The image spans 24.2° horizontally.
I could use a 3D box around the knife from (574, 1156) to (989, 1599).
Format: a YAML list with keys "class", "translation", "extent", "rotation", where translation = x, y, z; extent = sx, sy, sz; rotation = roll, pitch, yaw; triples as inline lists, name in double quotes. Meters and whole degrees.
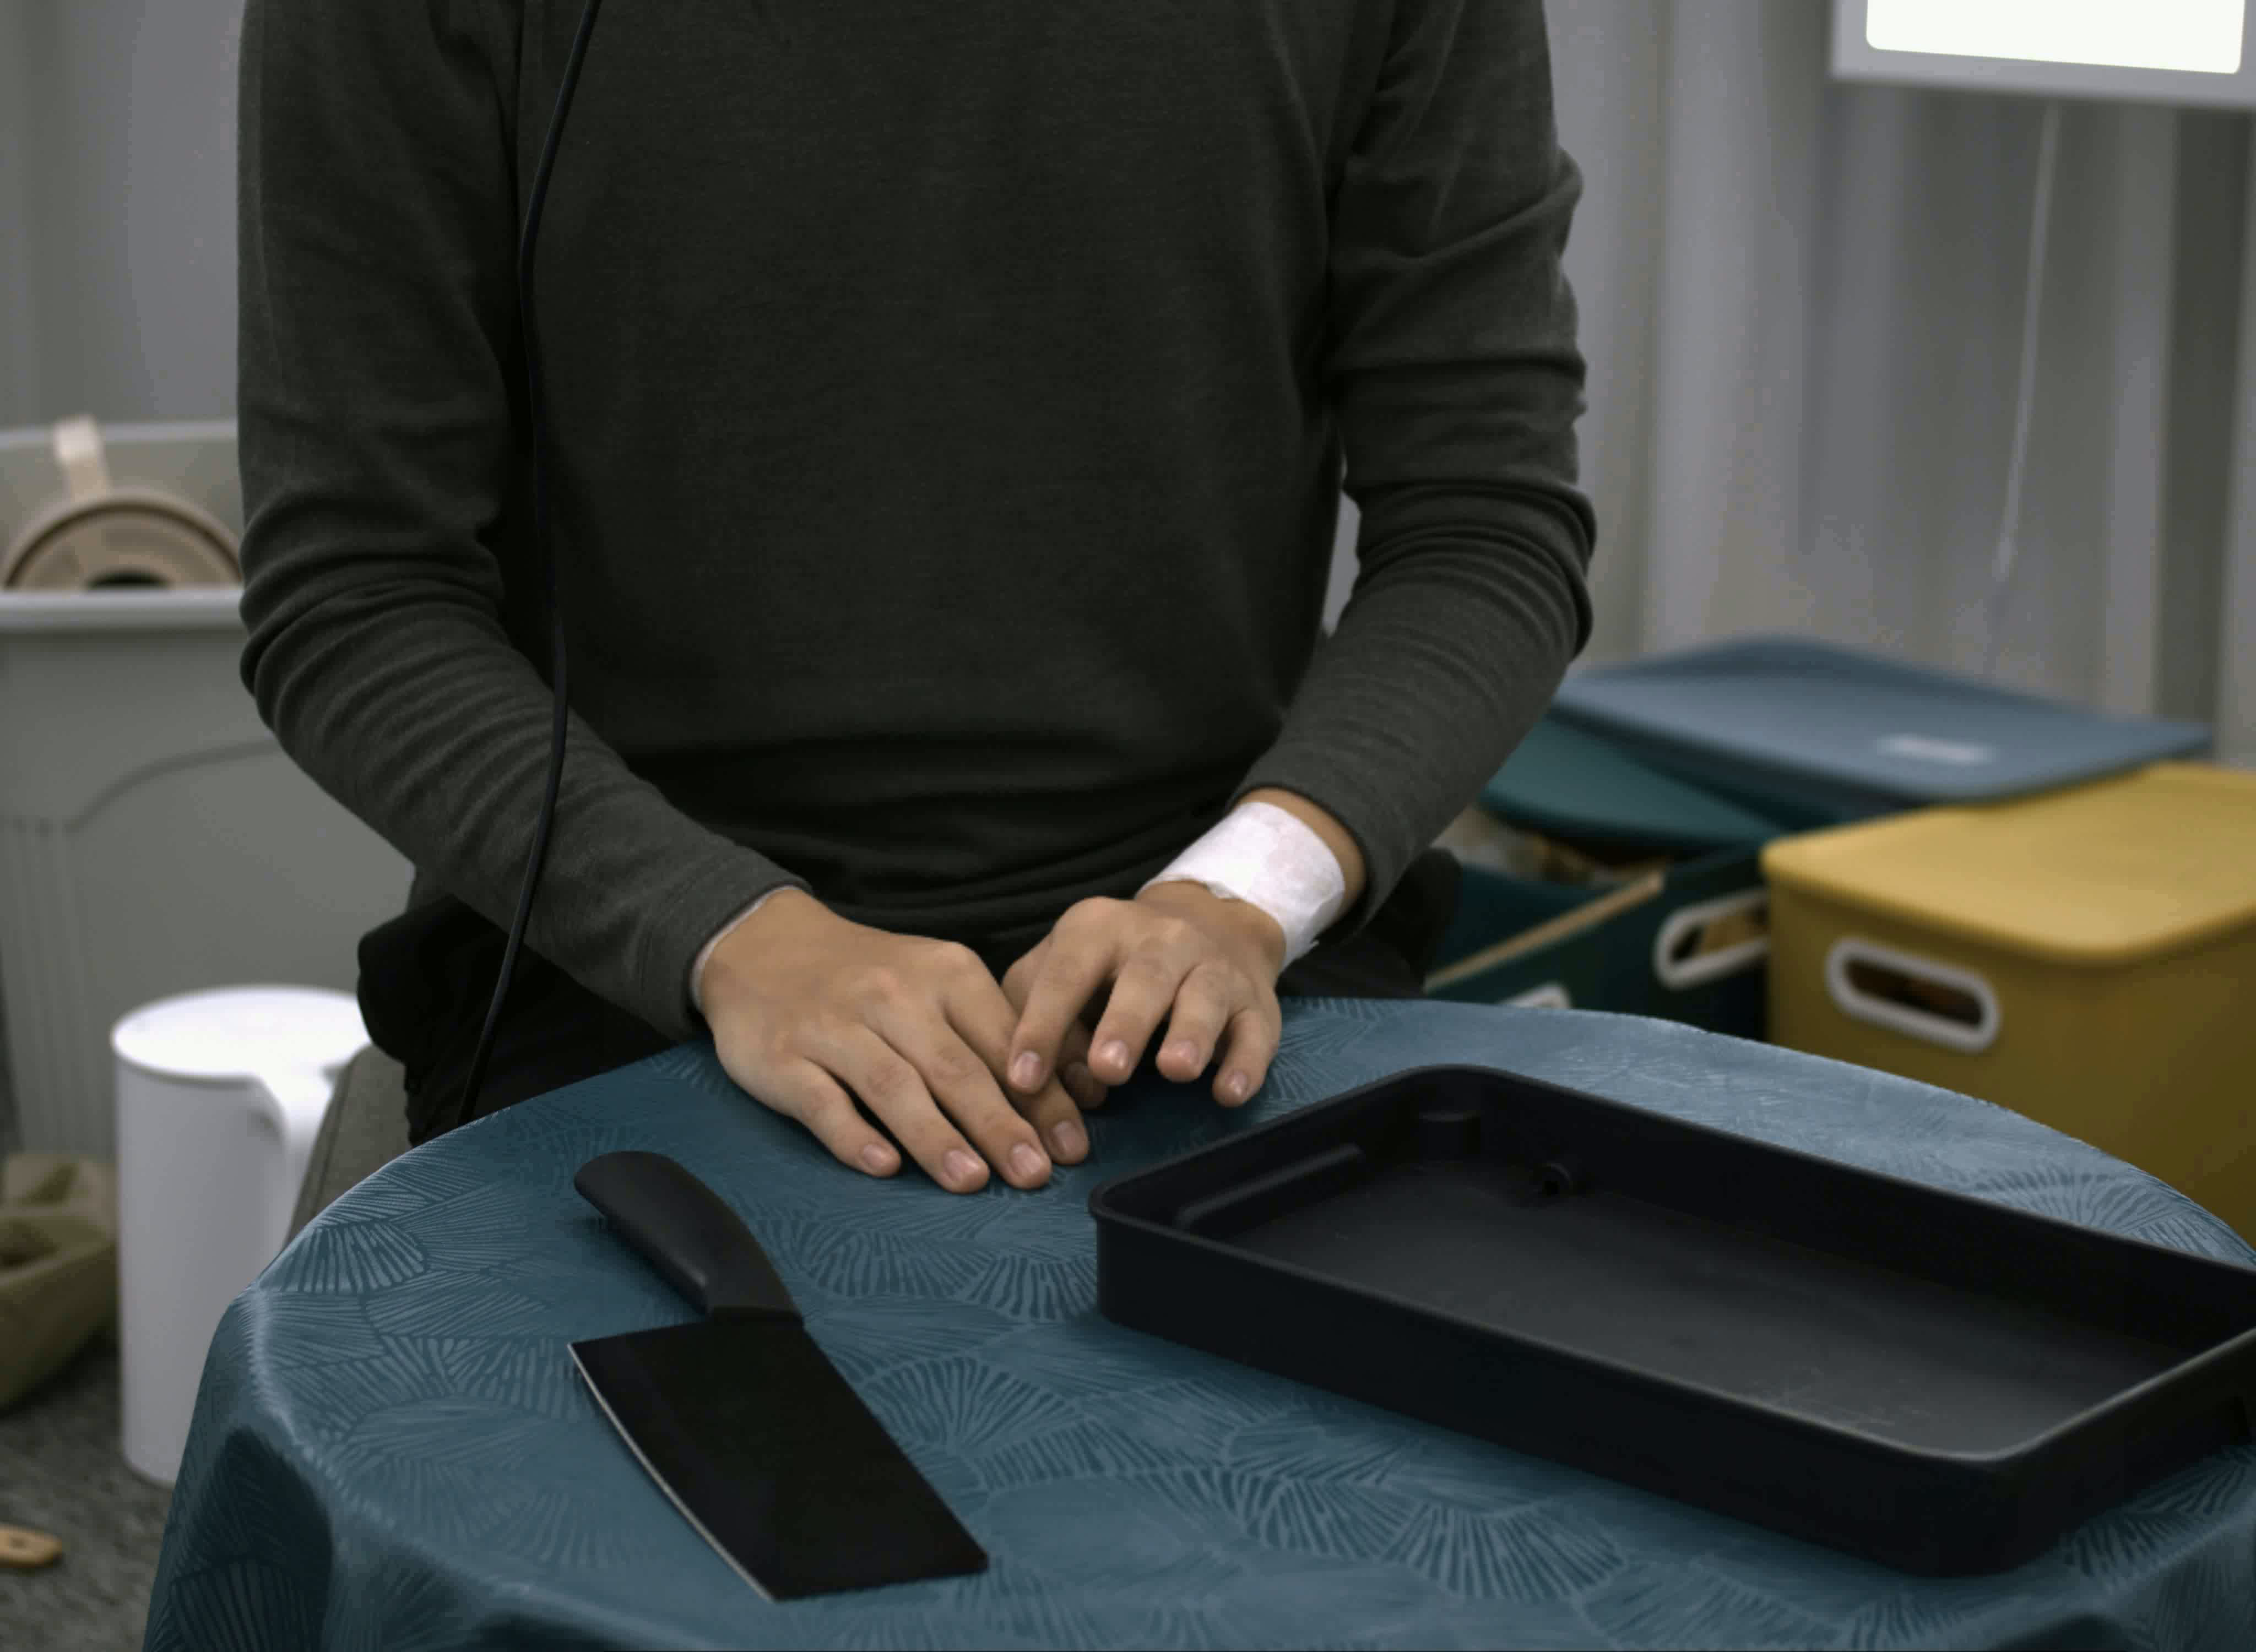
- class: "knife"
  translation: [-0.113, 0.150, 1.461]
  extent: [0.081, 0.021, 0.299]
  rotation: [-5, 18, -15]

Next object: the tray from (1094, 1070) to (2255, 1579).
- class: "tray"
  translation: [0.160, 0.134, 1.485]
  extent: [0.314, 0.037, 0.185]
  rotation: [12, 19, 38]
